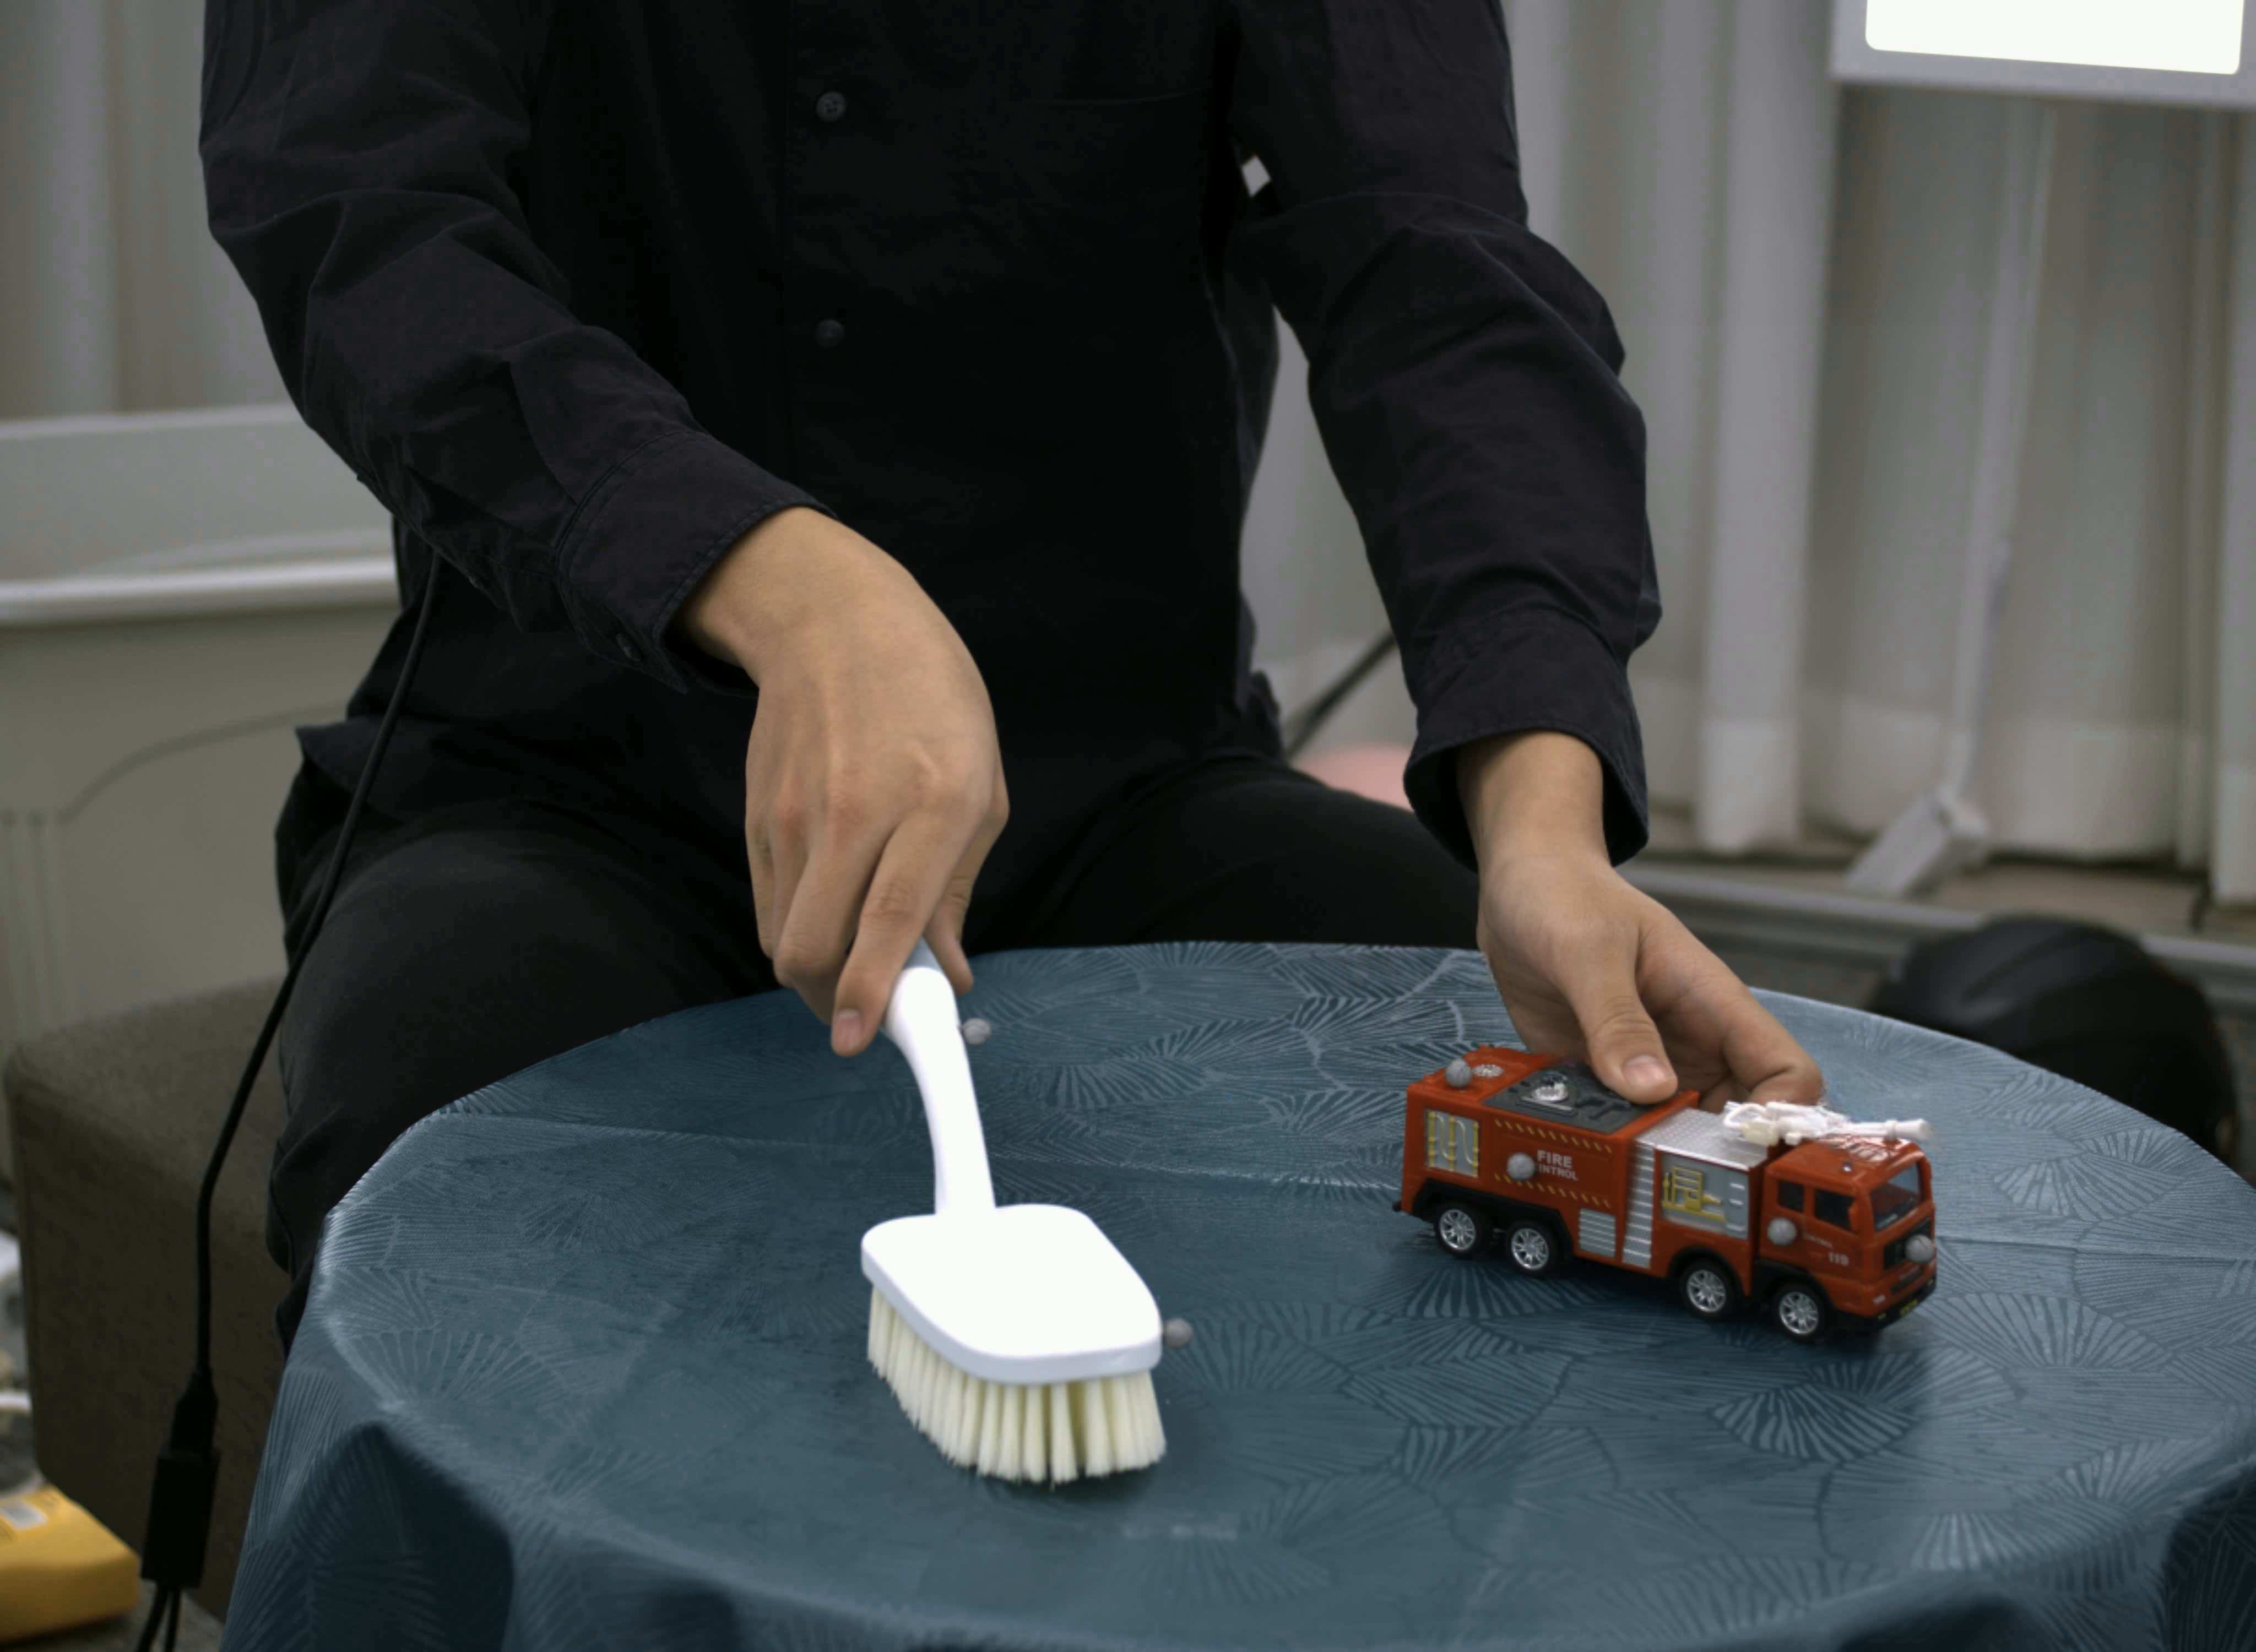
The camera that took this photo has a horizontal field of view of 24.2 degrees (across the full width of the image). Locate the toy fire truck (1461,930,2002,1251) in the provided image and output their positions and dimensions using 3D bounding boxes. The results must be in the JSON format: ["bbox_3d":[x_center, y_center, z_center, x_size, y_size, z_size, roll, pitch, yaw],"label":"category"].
[{"bbox_3d":[0.180,0.075,1.566,0.166,0.071,0.054,10,22,32],"label":"toy fire truck"}]

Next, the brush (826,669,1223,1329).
[{"bbox_3d":[-0.037,0.062,1.560,0.084,0.084,0.321,33,13,-32],"label":"brush"}]
